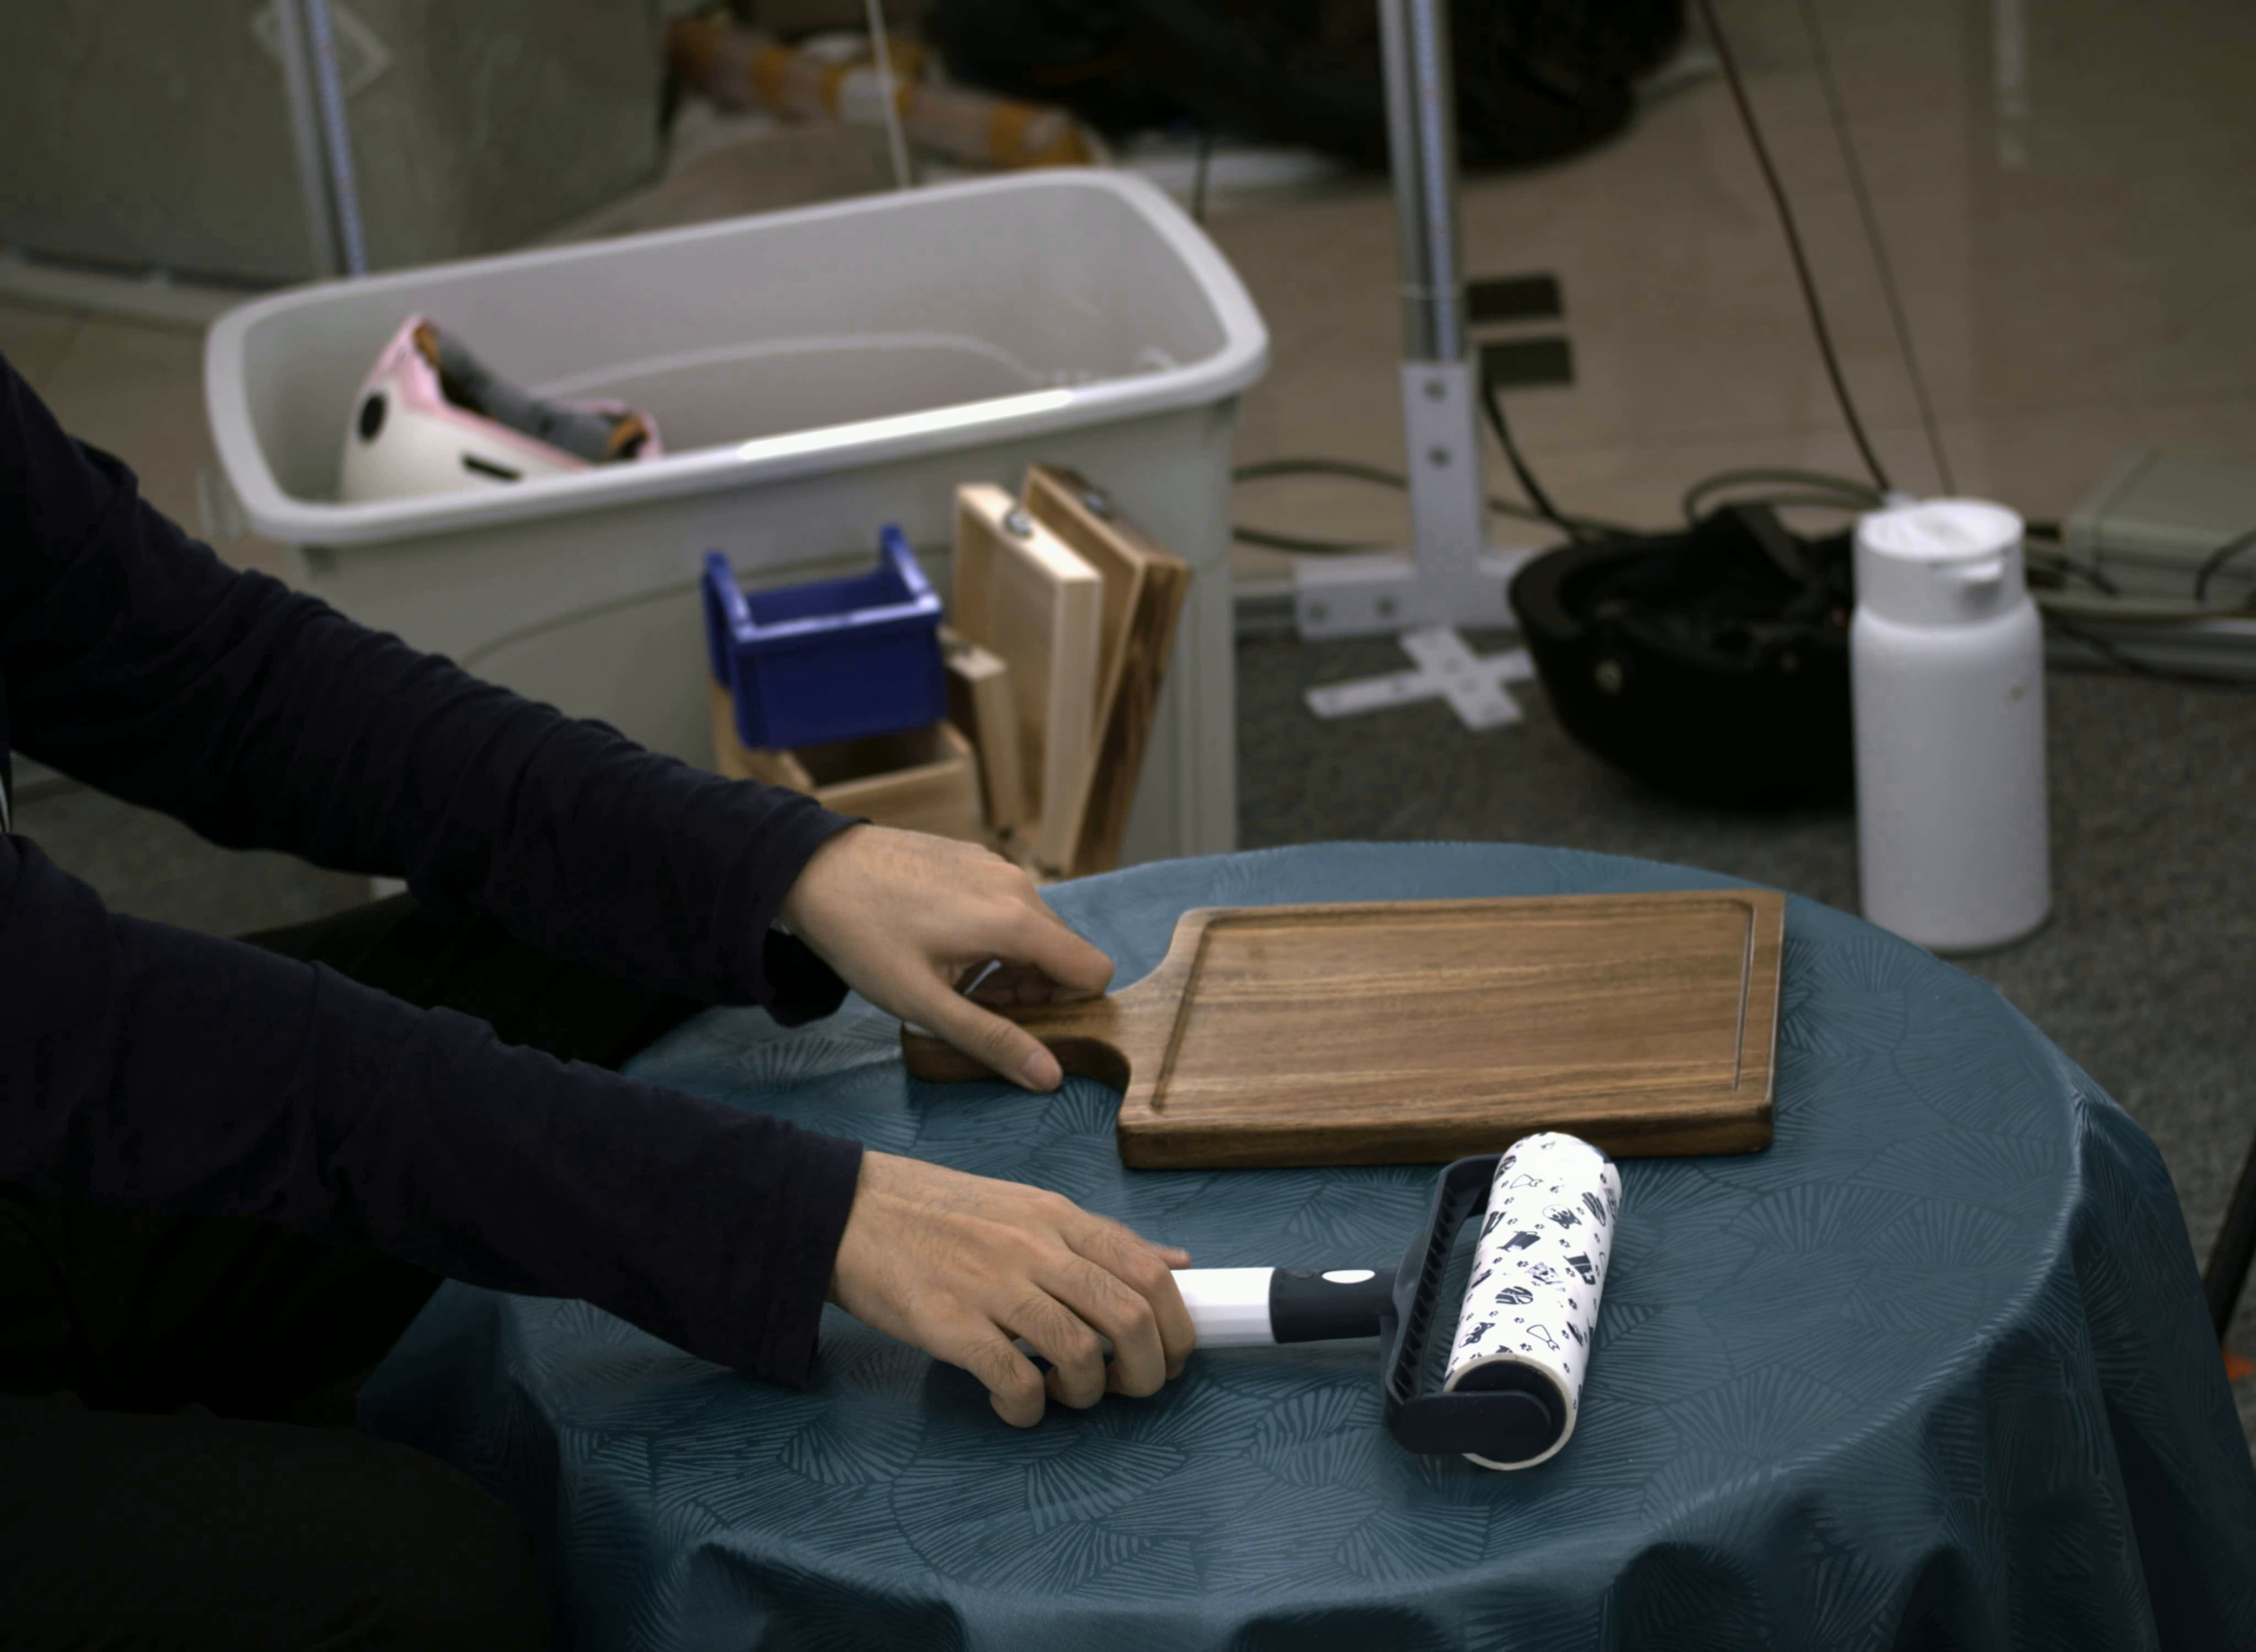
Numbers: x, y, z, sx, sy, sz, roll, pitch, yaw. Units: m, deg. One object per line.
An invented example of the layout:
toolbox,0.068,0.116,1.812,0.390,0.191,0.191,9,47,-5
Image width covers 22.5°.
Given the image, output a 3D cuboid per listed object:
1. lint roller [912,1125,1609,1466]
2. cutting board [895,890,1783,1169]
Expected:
lint roller,0.042,0.170,2.021,0.246,0.051,0.173,-3,26,12
cutting board,0.082,0.080,2.233,0.351,0.023,0.198,-2,24,9
